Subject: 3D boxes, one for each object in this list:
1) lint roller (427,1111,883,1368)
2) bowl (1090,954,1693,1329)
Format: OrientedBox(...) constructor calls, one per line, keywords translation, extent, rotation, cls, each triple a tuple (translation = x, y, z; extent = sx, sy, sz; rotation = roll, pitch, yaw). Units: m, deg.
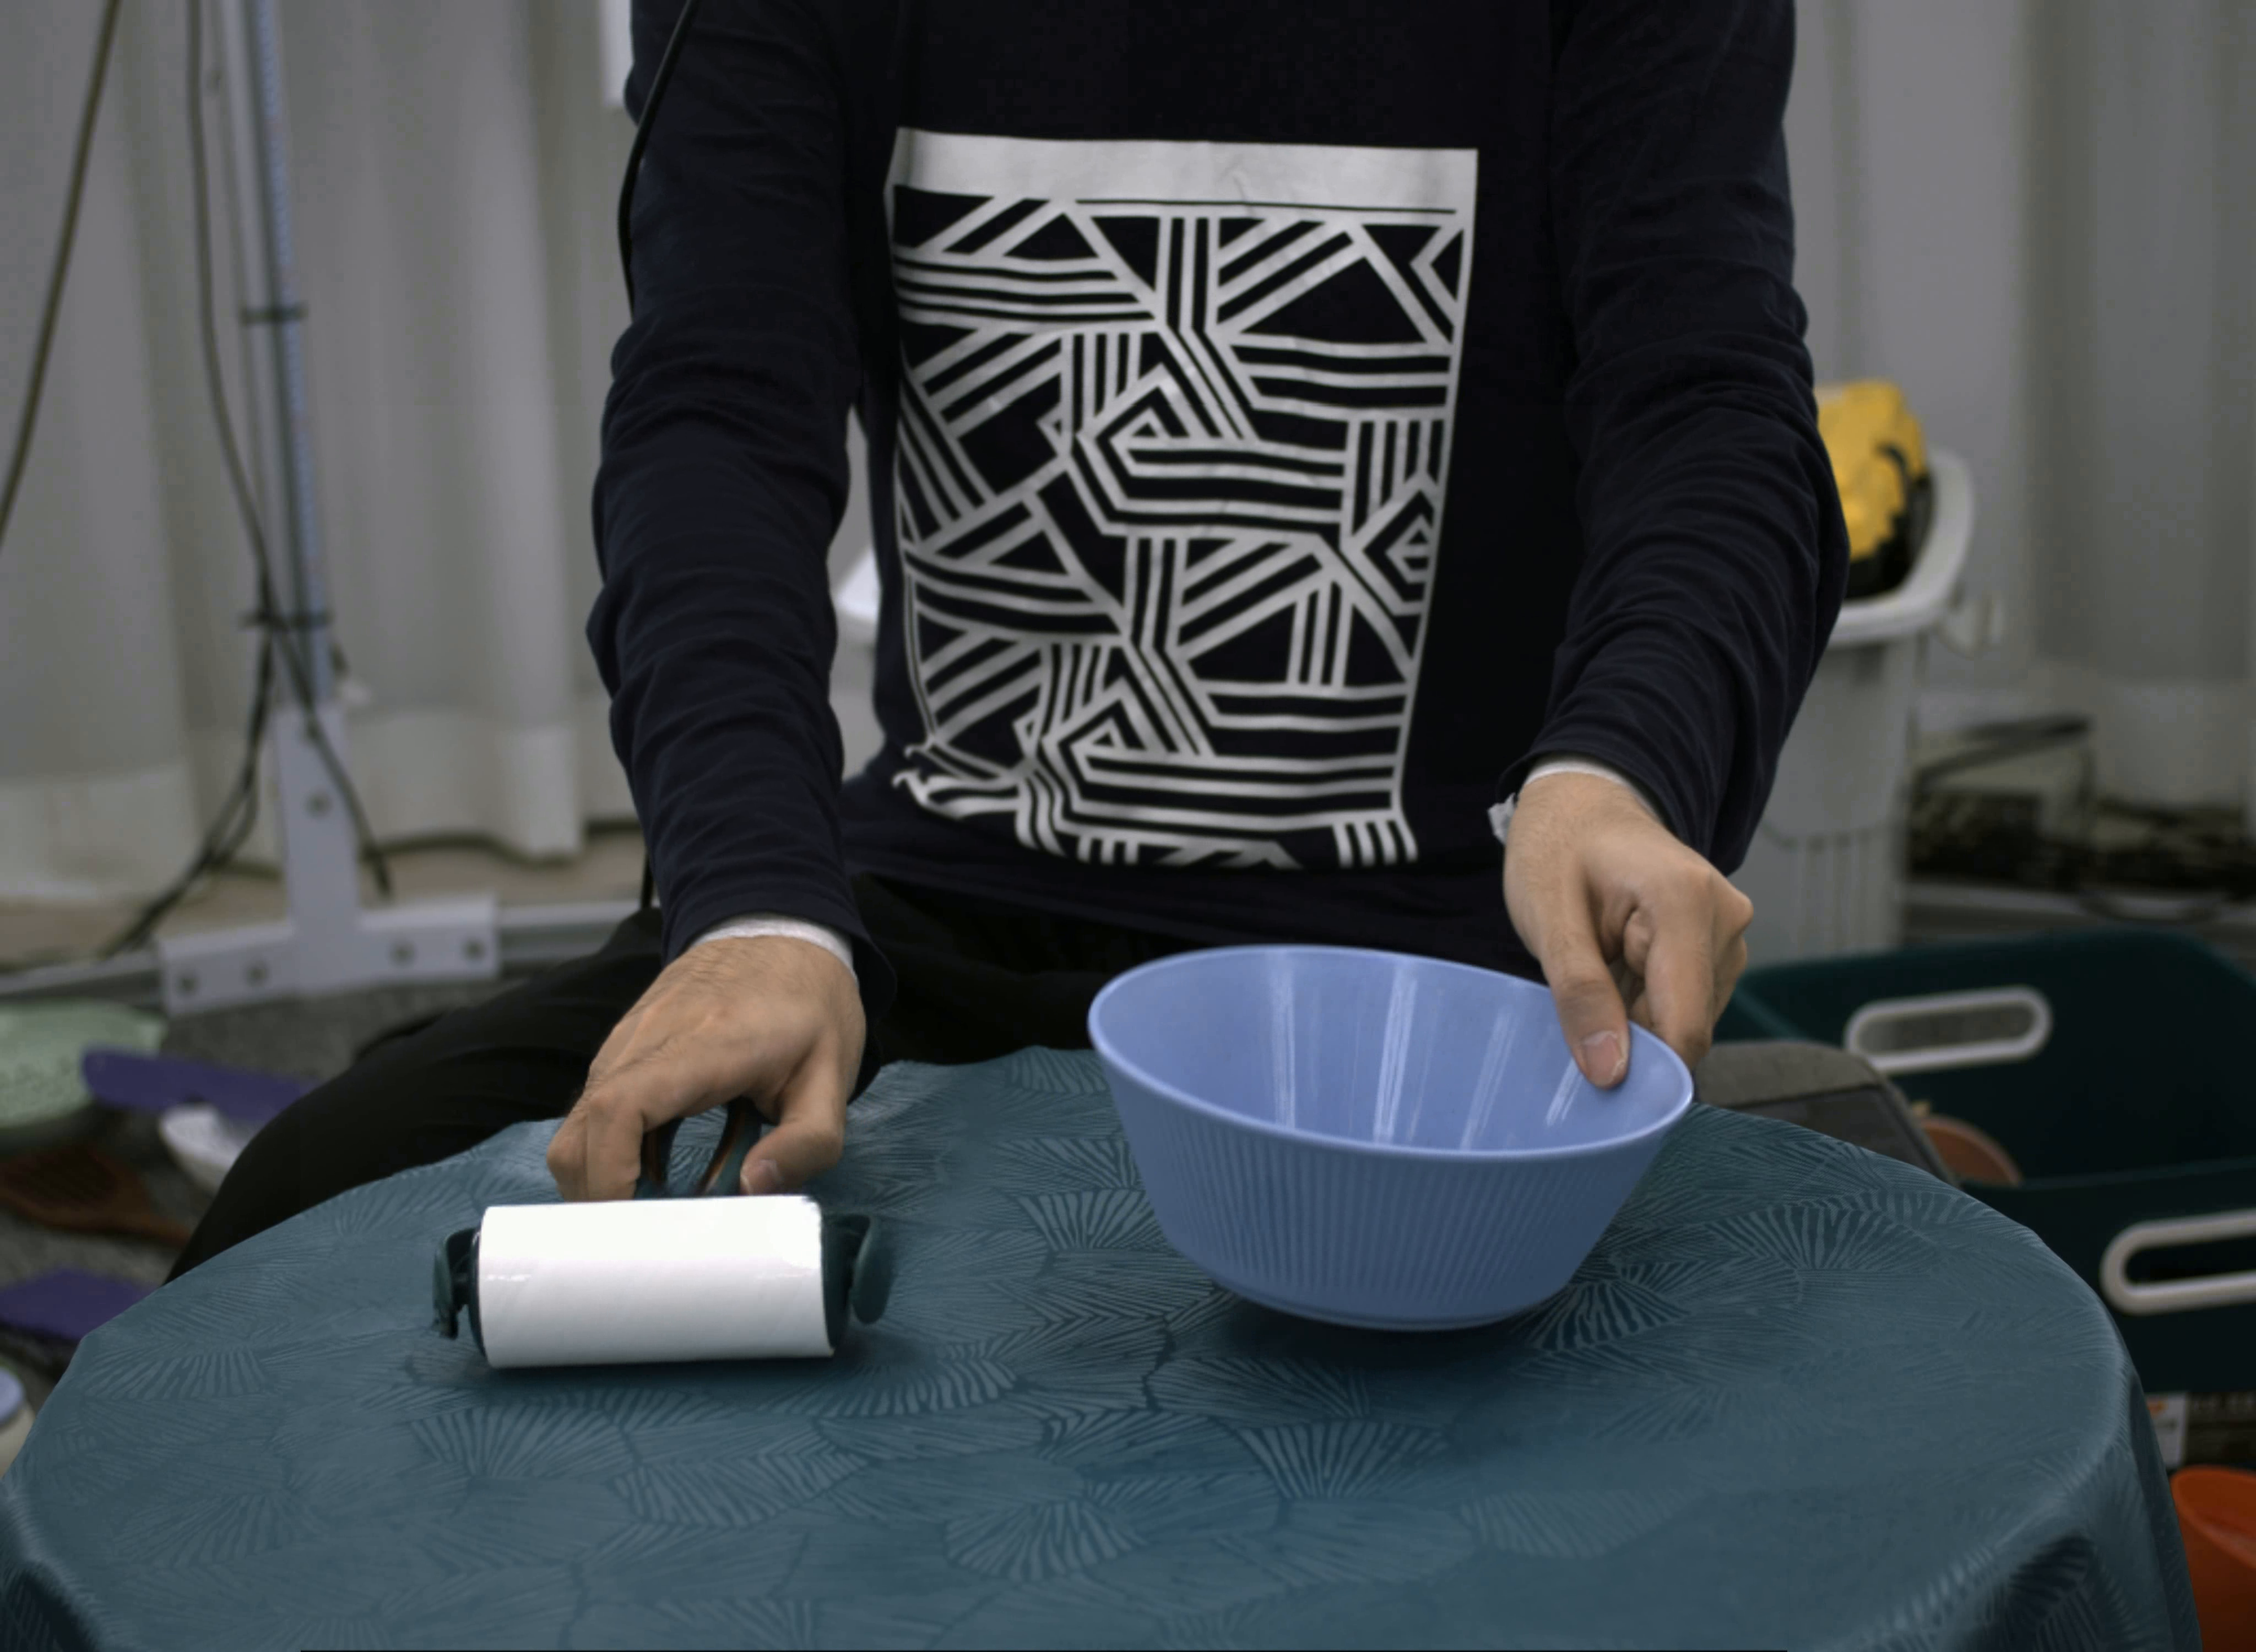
OrientedBox(translation=(-0.135, 0.107, 1.644), extent=(0.134, 0.048, 0.182), rotation=(-2, 22, 2), cls="lint roller")
OrientedBox(translation=(0.073, 0.095, 1.586), extent=(0.175, 0.070, 0.177), rotation=(5, 16, -2), cls="bowl")
